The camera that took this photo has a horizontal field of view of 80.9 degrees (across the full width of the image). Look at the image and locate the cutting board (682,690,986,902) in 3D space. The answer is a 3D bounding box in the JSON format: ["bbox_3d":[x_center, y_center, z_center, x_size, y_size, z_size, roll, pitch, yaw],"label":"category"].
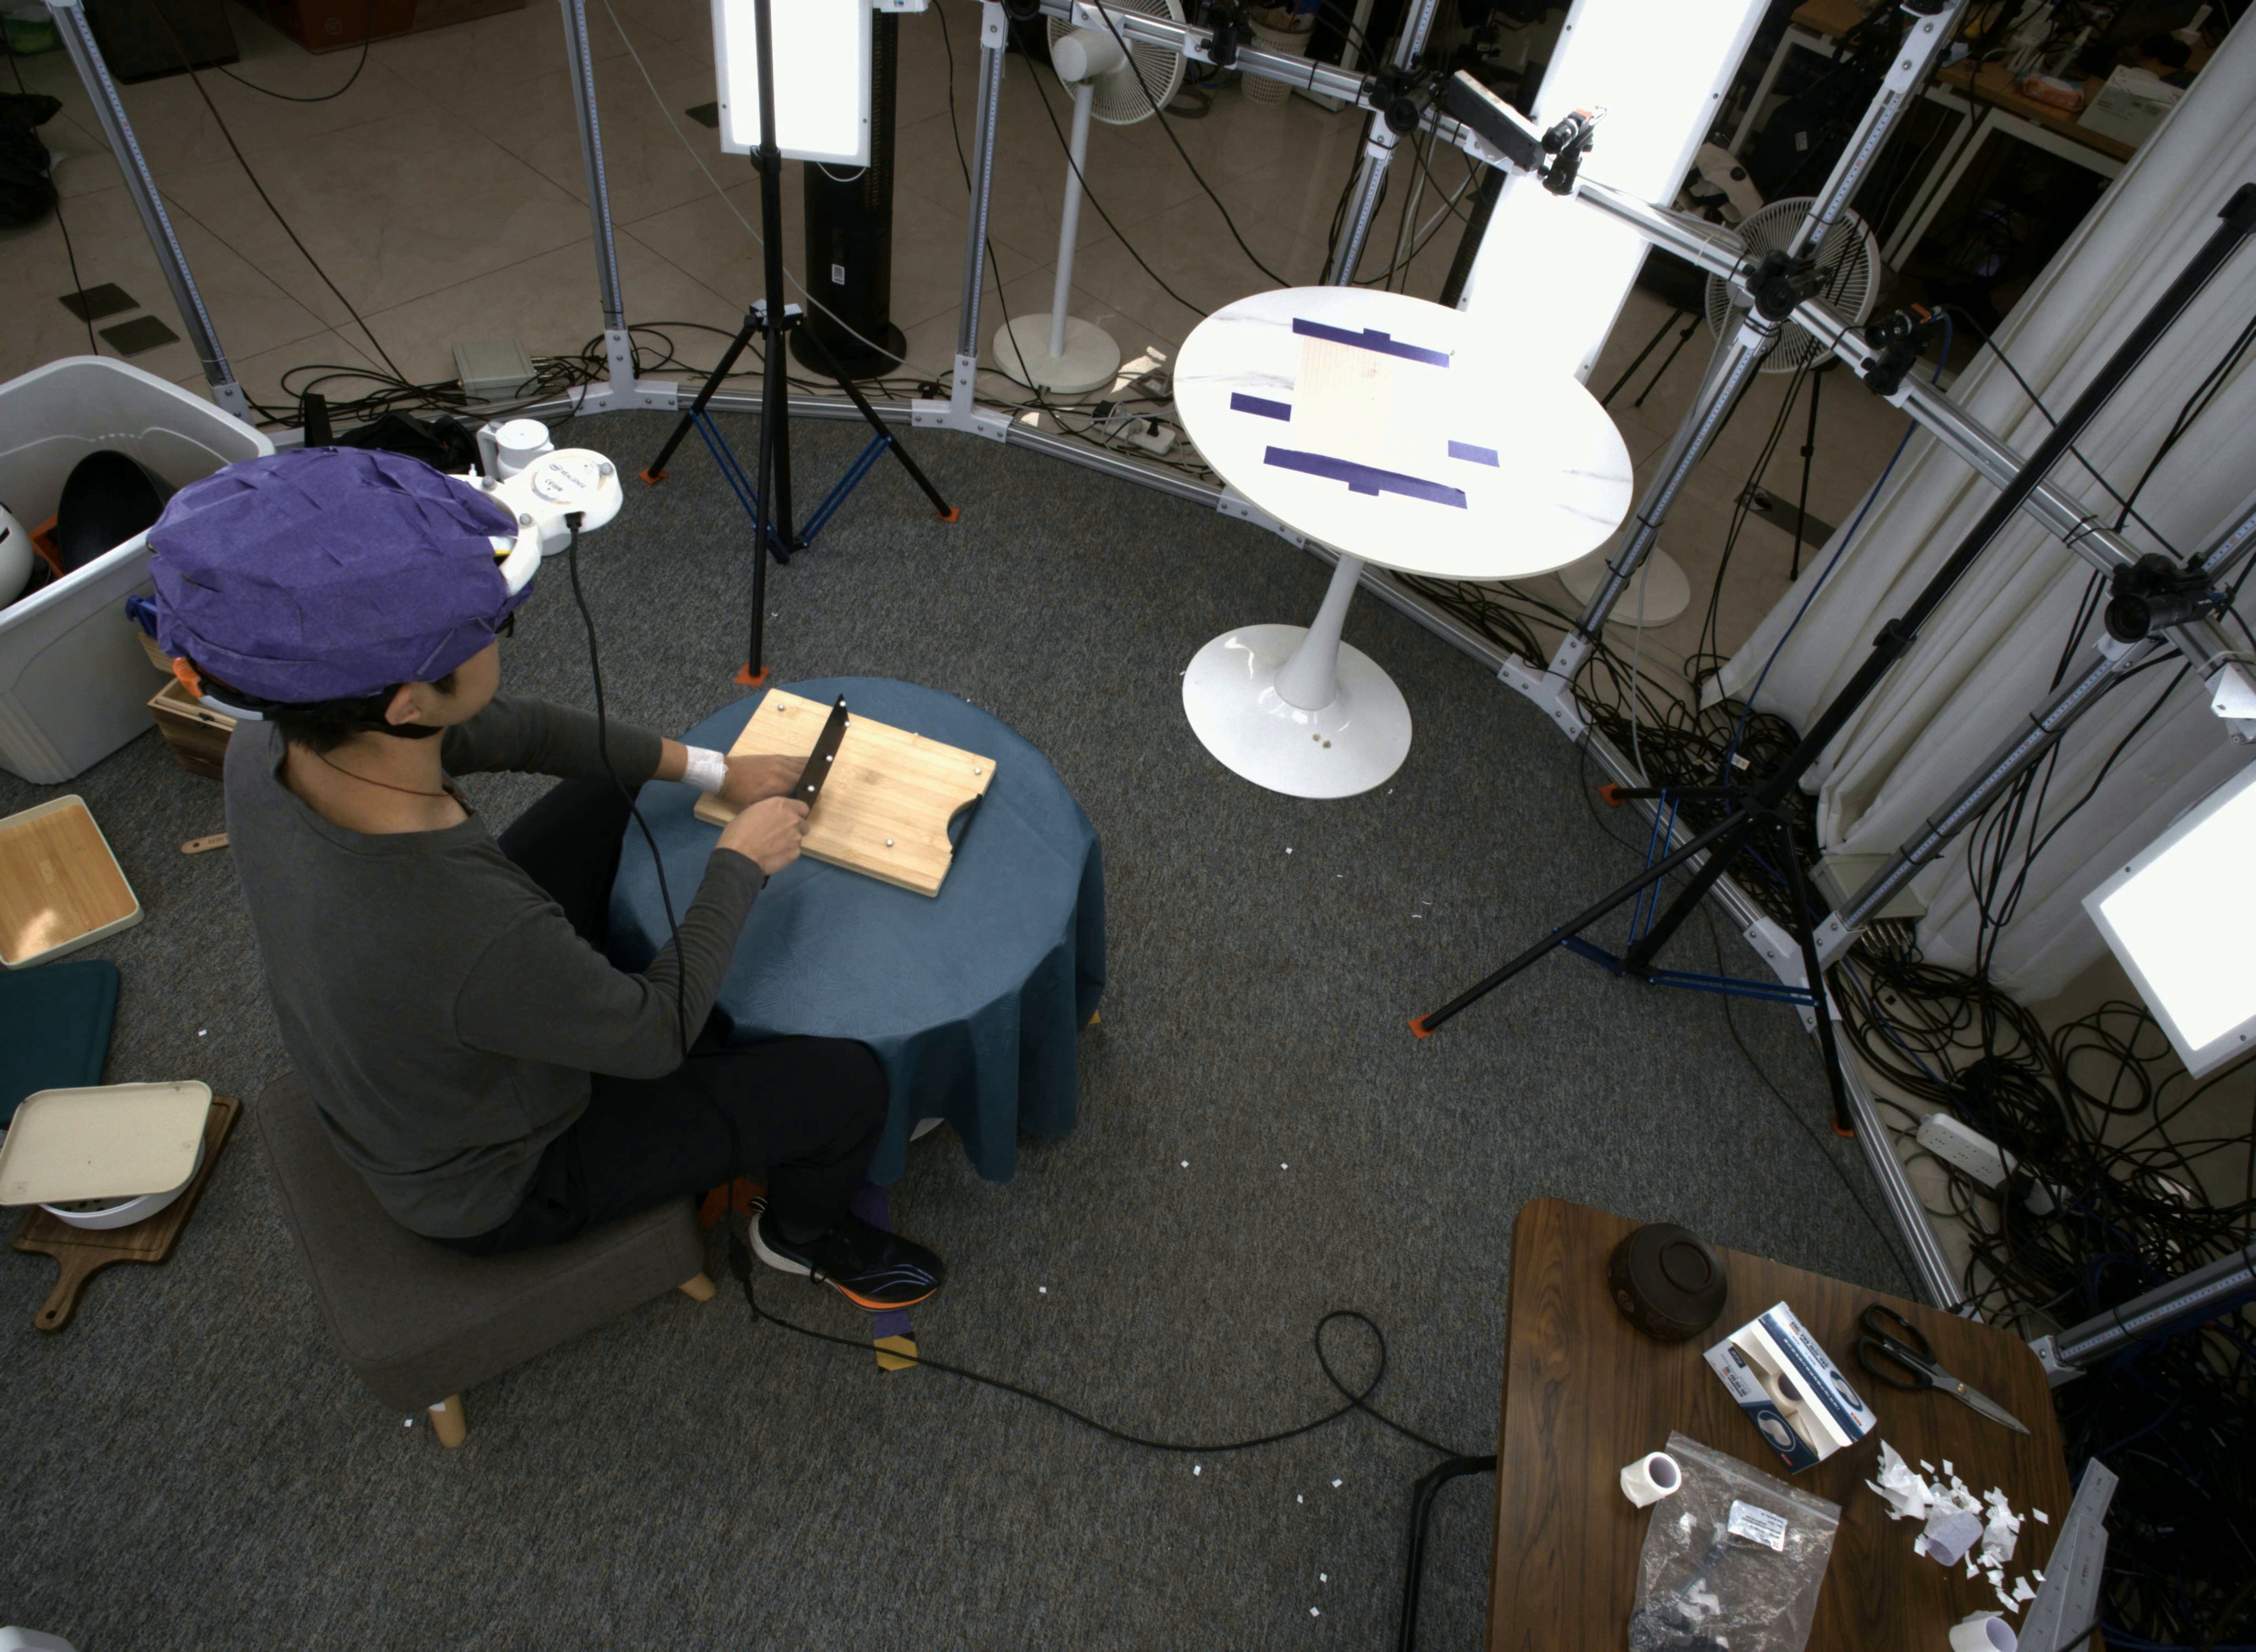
[{"bbox_3d":[-0.394,-0.047,1.767,0.346,0.024,0.248,17,52,-1],"label":"cutting board"}]

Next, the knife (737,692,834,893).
[{"bbox_3d":[-0.429,-0.043,1.643,0.020,0.083,0.298,9,51,8],"label":"knife"}]
